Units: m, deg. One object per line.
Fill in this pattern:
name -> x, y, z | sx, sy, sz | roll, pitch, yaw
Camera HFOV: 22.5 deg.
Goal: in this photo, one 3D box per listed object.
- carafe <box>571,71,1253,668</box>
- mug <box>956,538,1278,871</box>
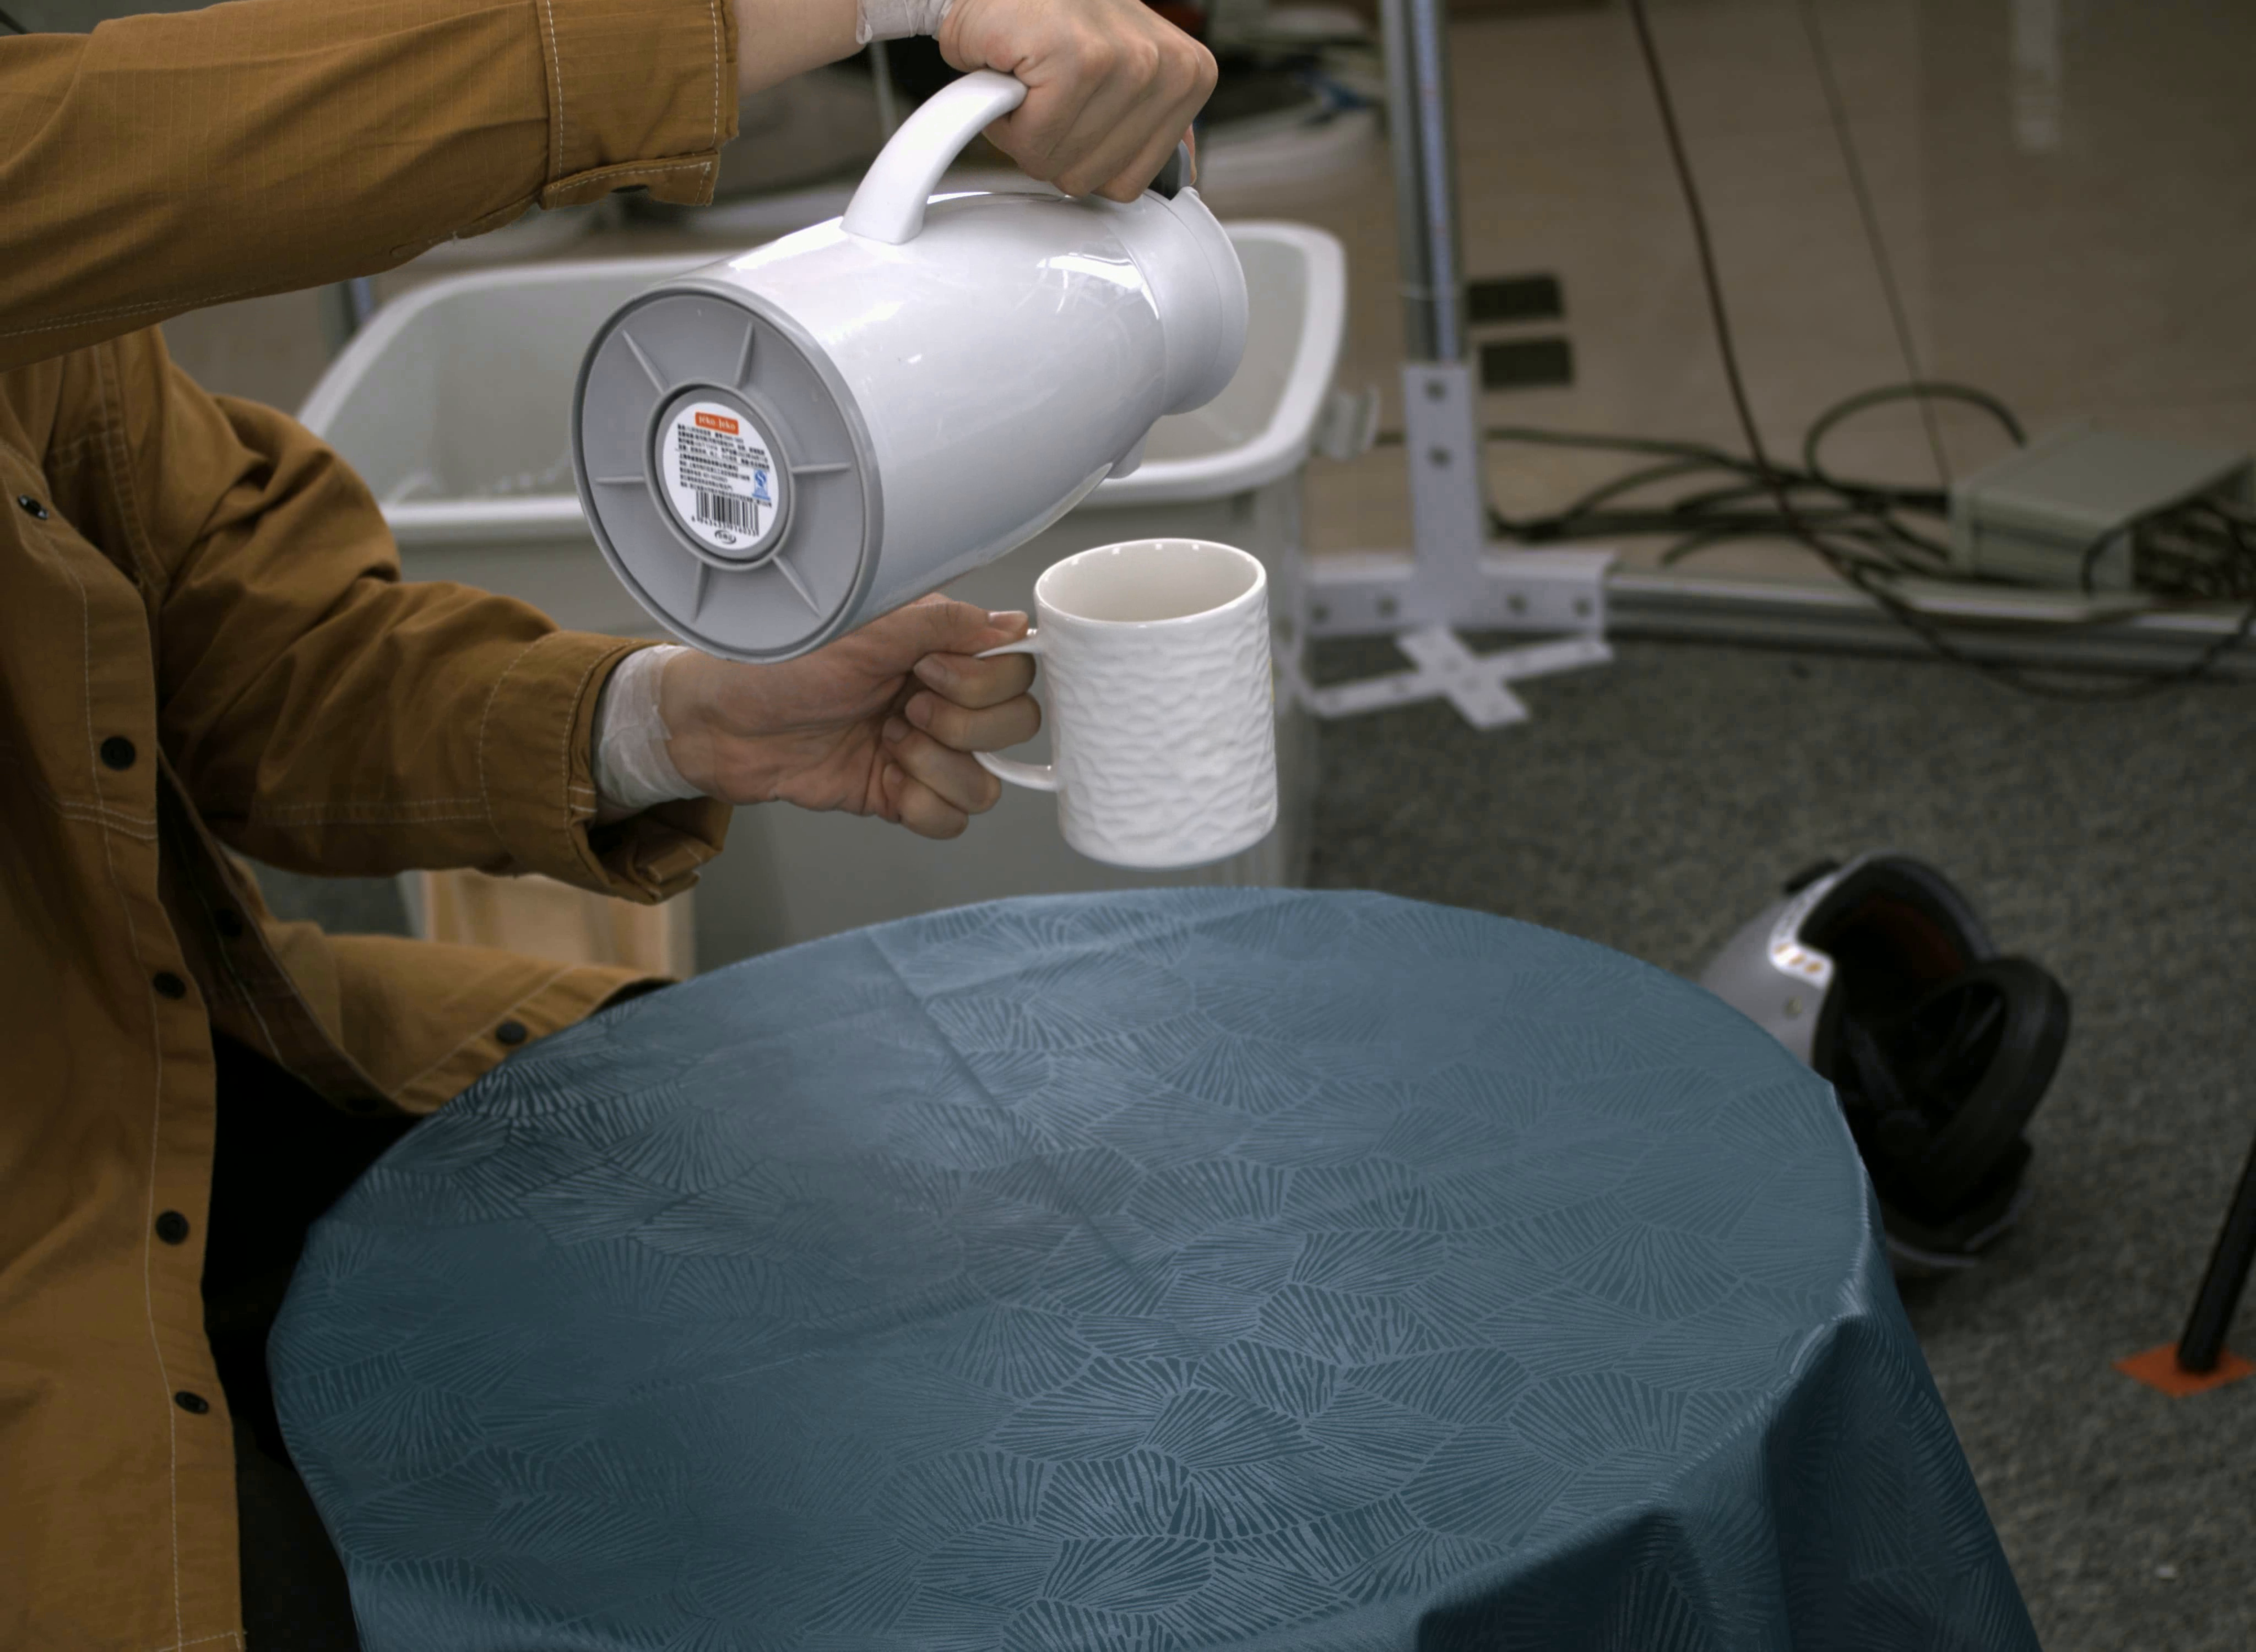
carafe -> -0.059, -0.170, 1.944 | 0.131, 0.170, 0.246 | 23, 33, 31
mug -> -0.004, -0.043, 2.104 | 0.118, 0.103, 0.084 | -6, 25, -3
